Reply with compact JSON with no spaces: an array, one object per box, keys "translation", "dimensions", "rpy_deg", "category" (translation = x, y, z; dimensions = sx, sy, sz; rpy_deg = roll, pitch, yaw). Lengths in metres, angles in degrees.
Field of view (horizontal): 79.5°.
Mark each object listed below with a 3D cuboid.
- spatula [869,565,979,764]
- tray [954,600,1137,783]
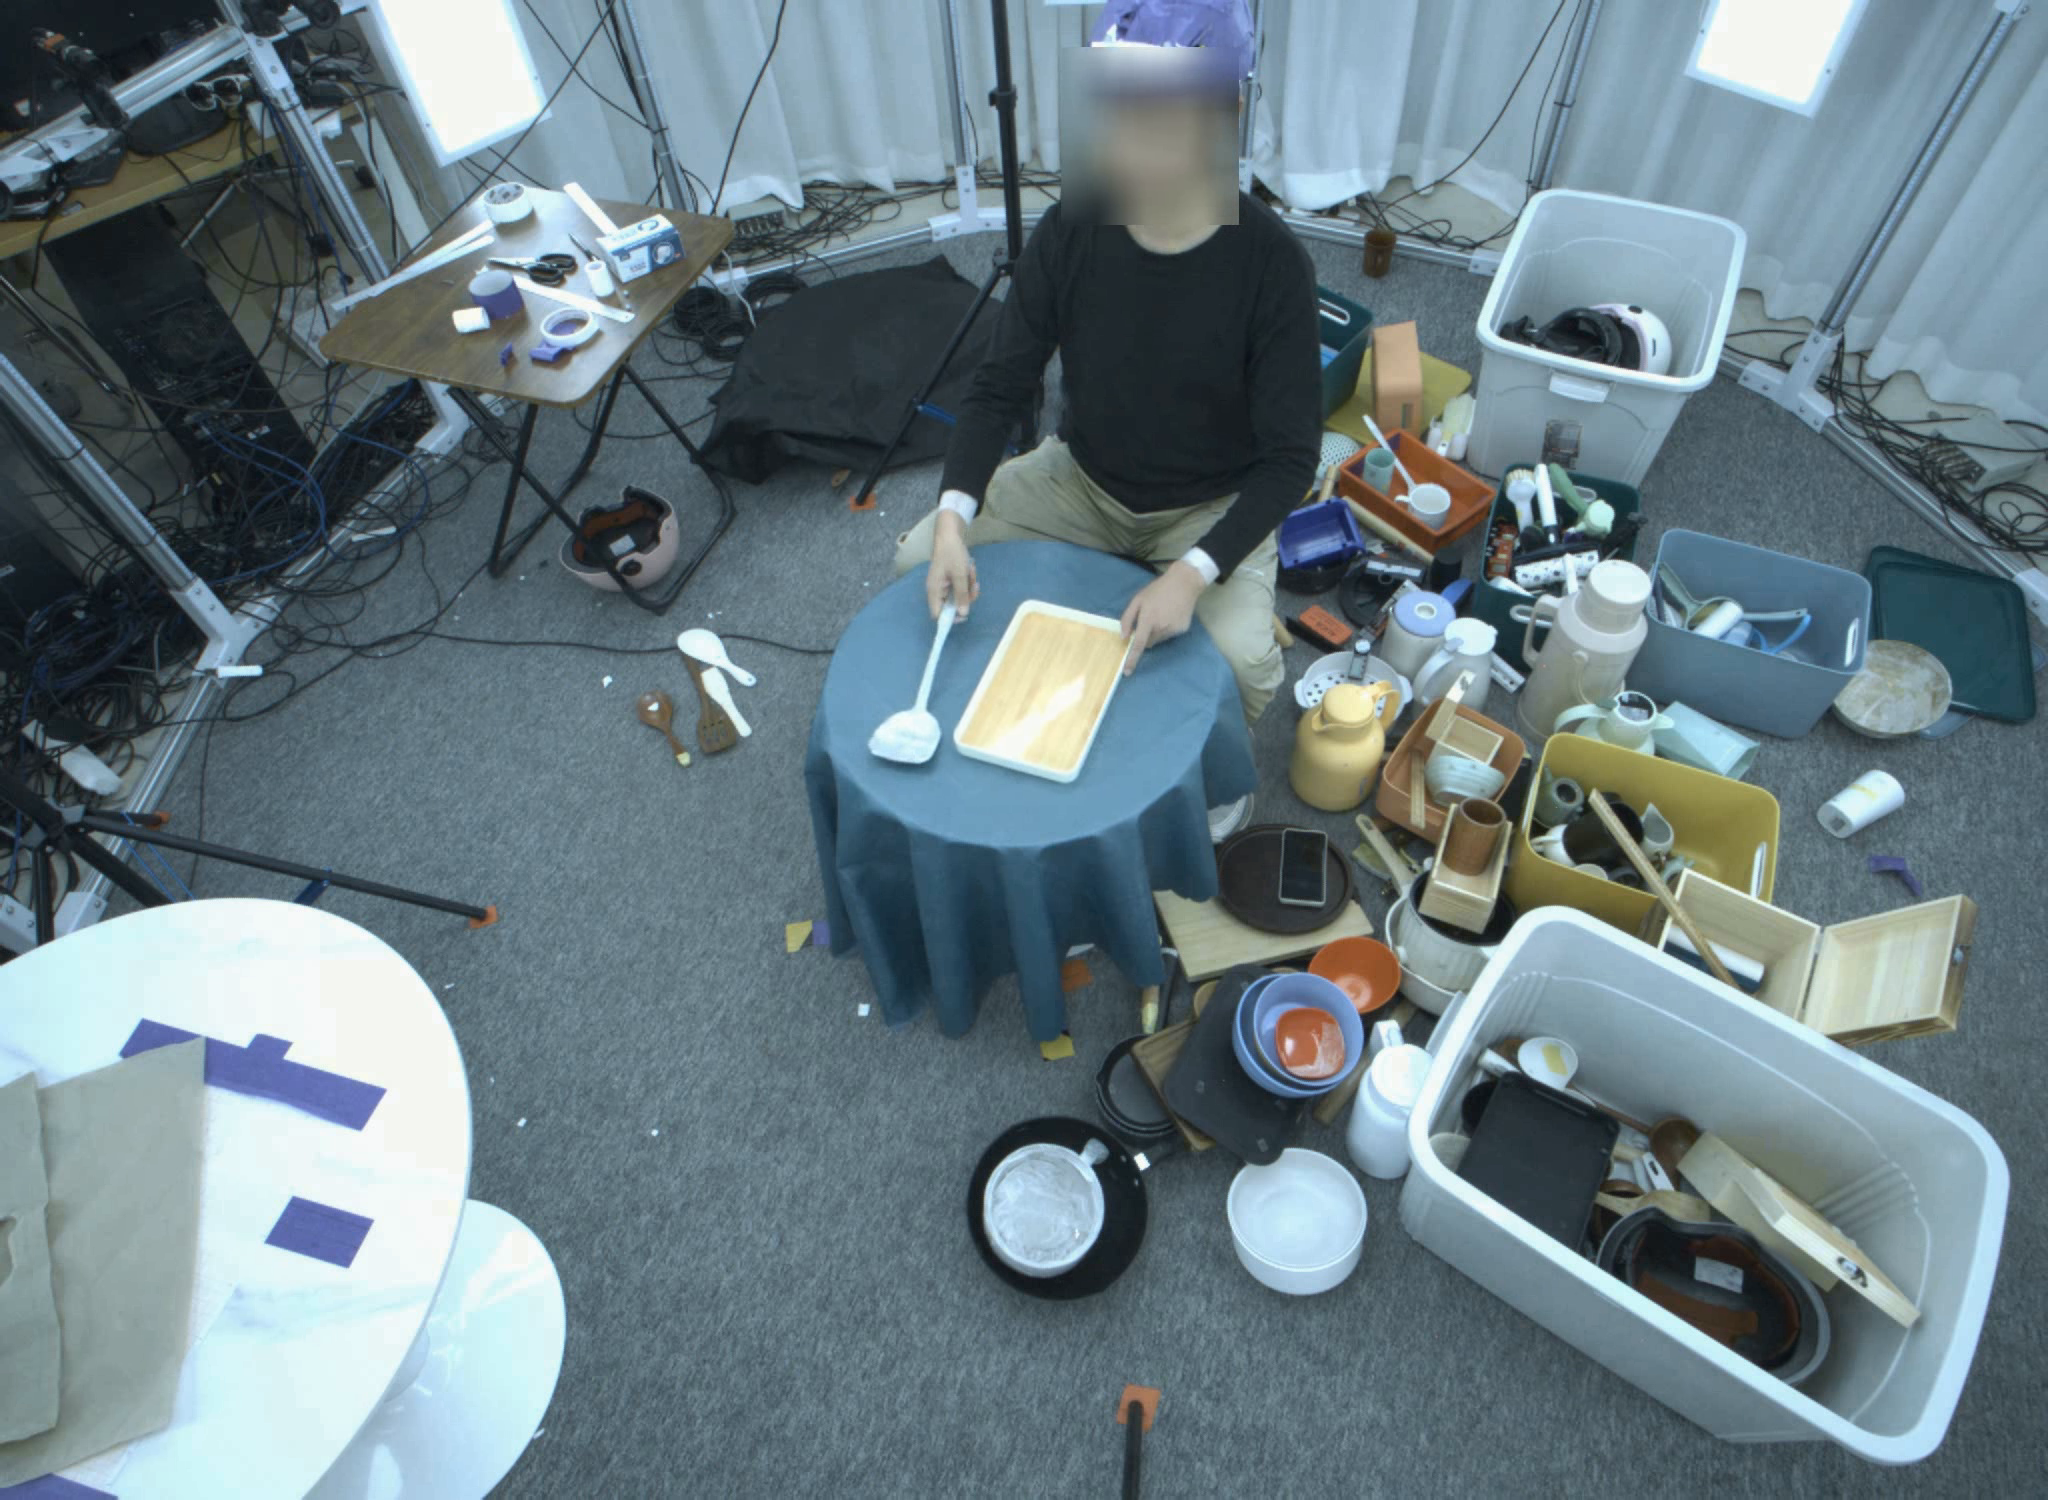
[{"translation":[-0.133,-0.138,1.838],"dimensions":[0.098,0.045,0.364],"rpy_deg":[12,69,11],"category":"spatula"},{"translation":[0.036,-0.094,1.836],"dimensions":[0.189,0.028,0.300],"rpy_deg":[17,57,13],"category":"tray"}]
